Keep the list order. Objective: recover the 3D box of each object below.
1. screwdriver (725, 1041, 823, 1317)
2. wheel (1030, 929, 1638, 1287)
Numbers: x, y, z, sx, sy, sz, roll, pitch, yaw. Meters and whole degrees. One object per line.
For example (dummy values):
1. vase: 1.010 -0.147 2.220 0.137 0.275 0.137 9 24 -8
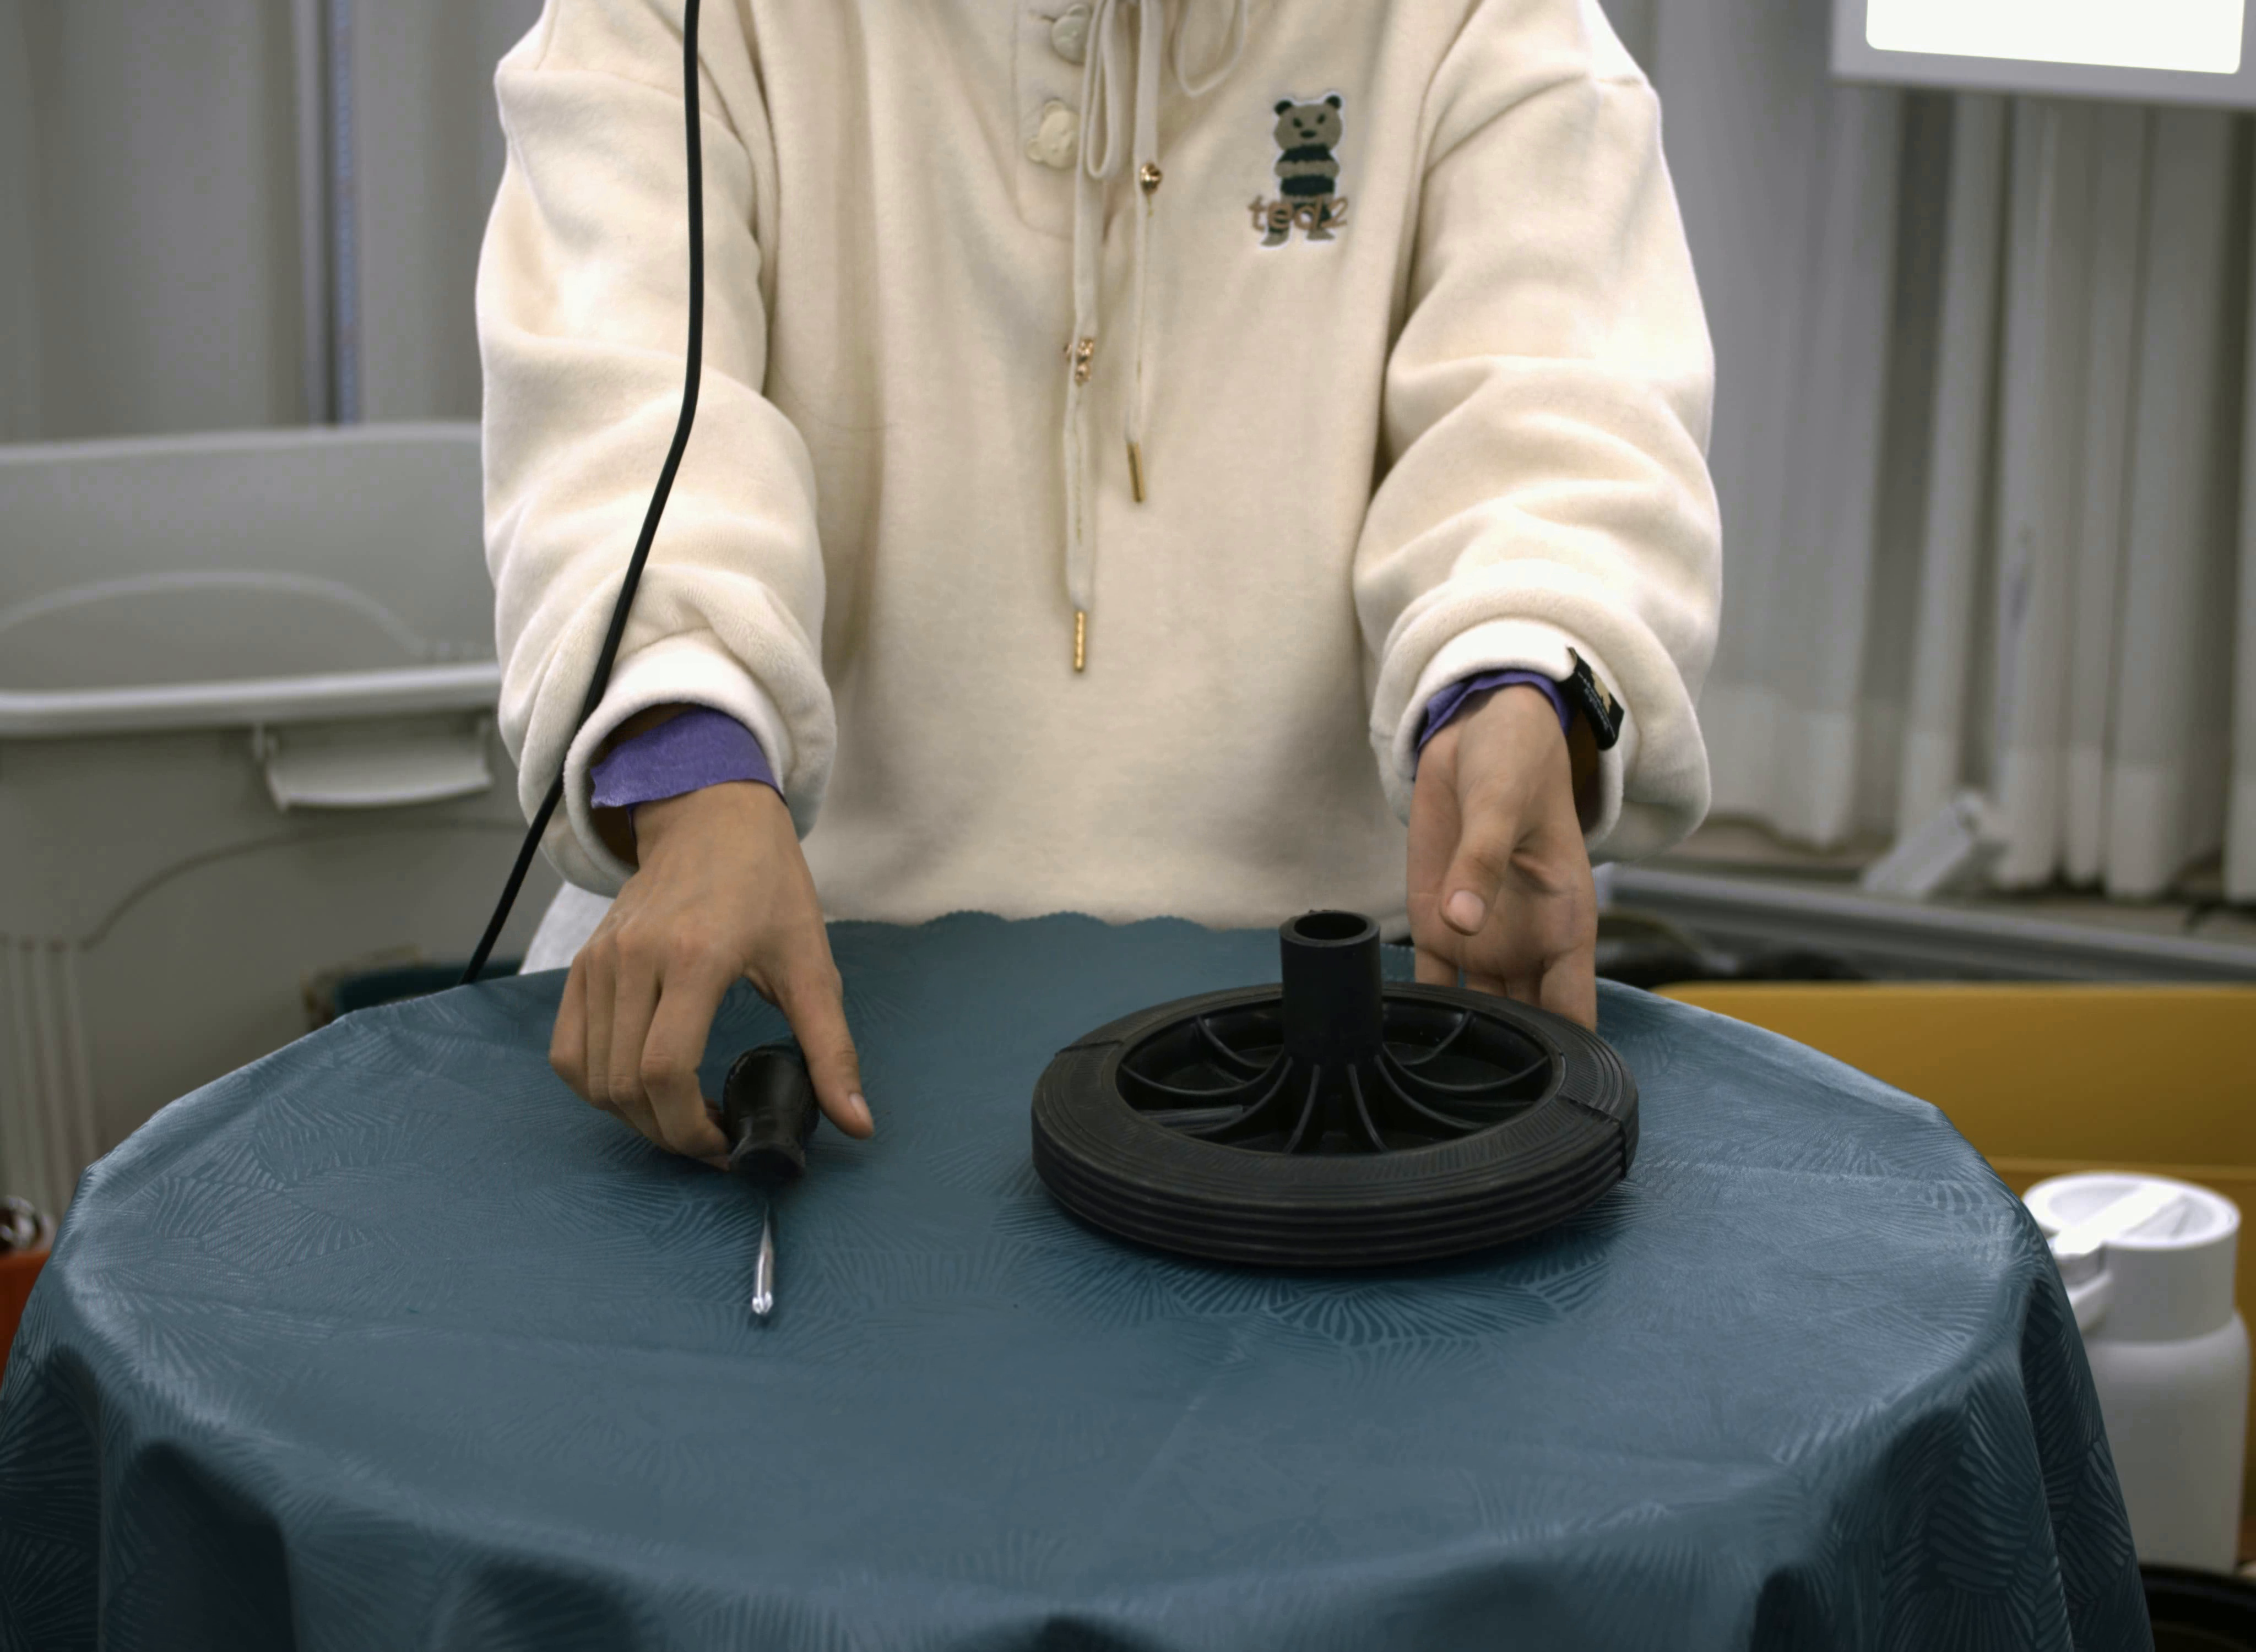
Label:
1. screwdriver: -0.105 0.107 1.593 0.031 0.032 0.195 -1 17 -5
2. wheel: 0.062 0.074 1.618 0.190 0.080 0.185 -16 24 -29
